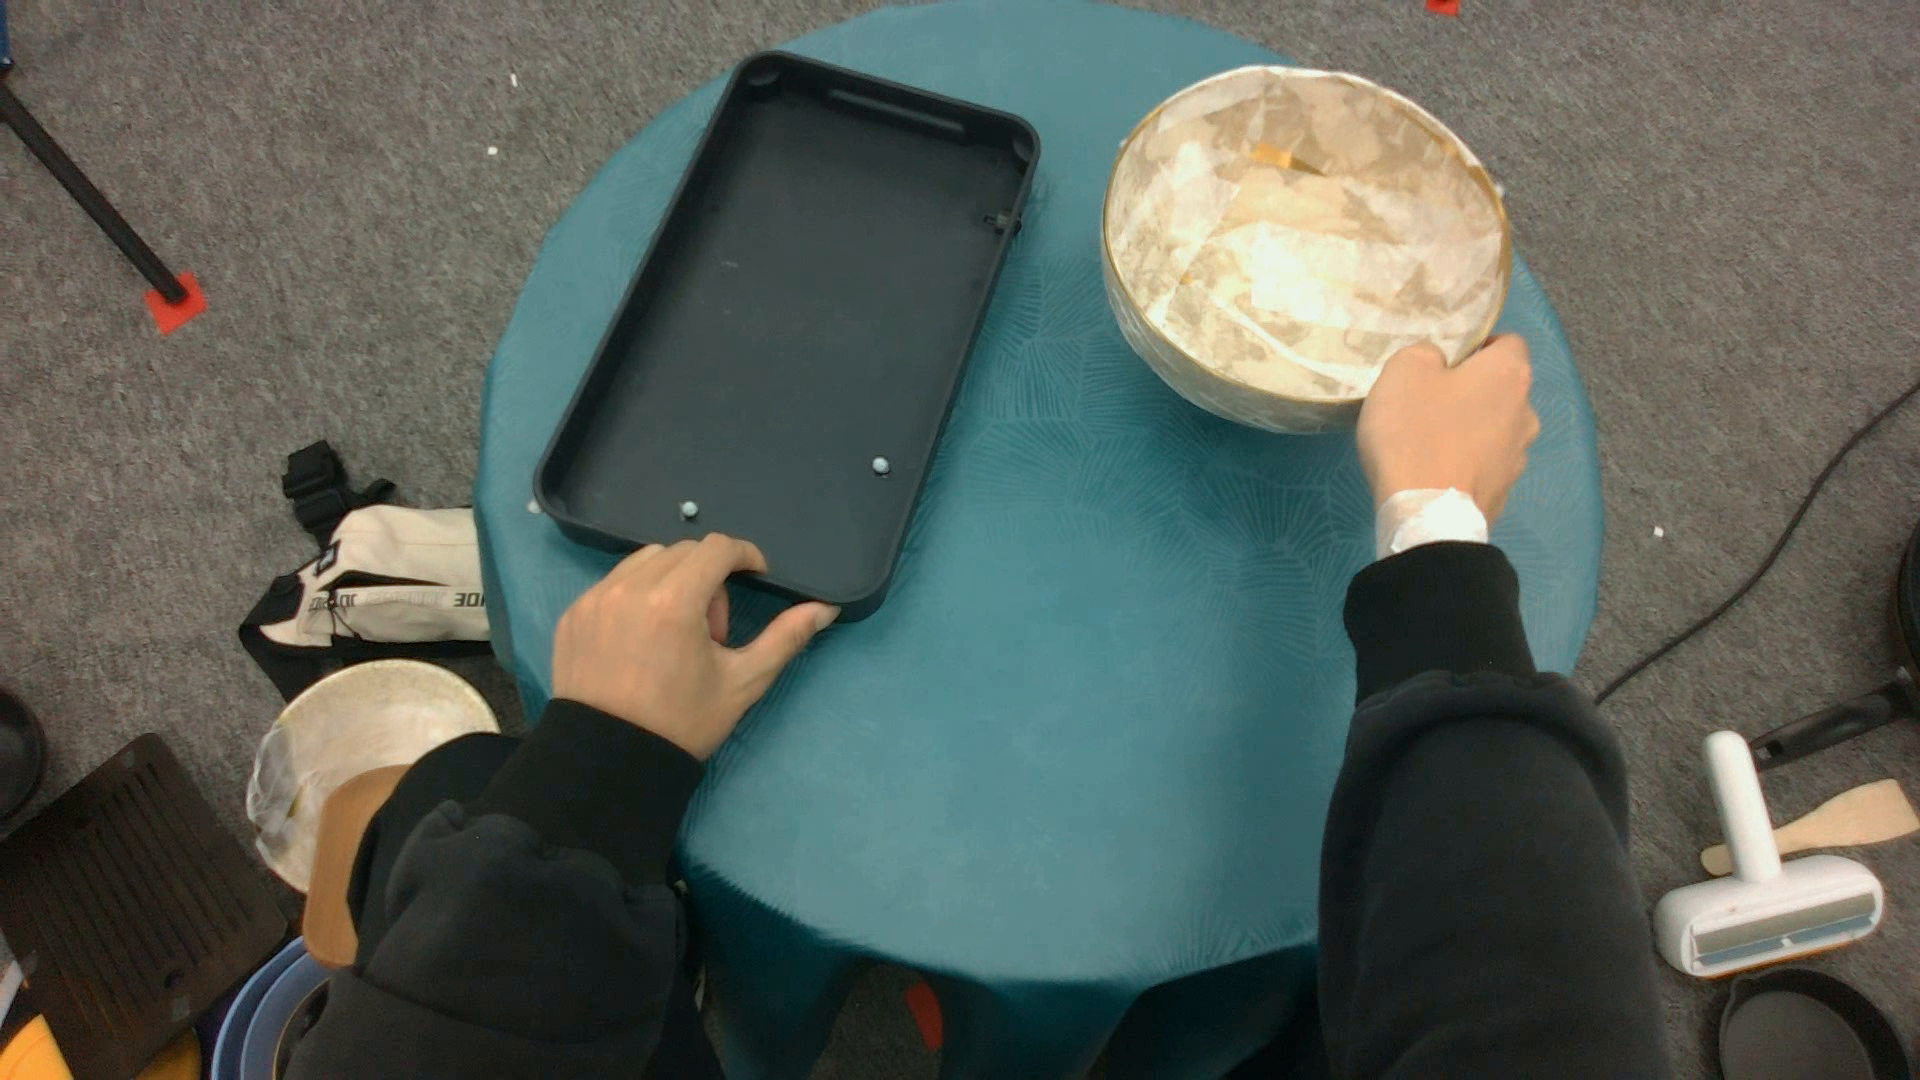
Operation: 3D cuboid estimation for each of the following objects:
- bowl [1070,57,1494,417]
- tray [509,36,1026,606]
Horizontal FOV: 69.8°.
[{"bbox_3d":[0.153,-0.140,0.712,0.215,0.094,0.215,2,64,-5],"label":"bowl"},{"bbox_3d":[-0.093,-0.129,0.741,0.184,0.037,0.319,17,65,5],"label":"tray"}]
